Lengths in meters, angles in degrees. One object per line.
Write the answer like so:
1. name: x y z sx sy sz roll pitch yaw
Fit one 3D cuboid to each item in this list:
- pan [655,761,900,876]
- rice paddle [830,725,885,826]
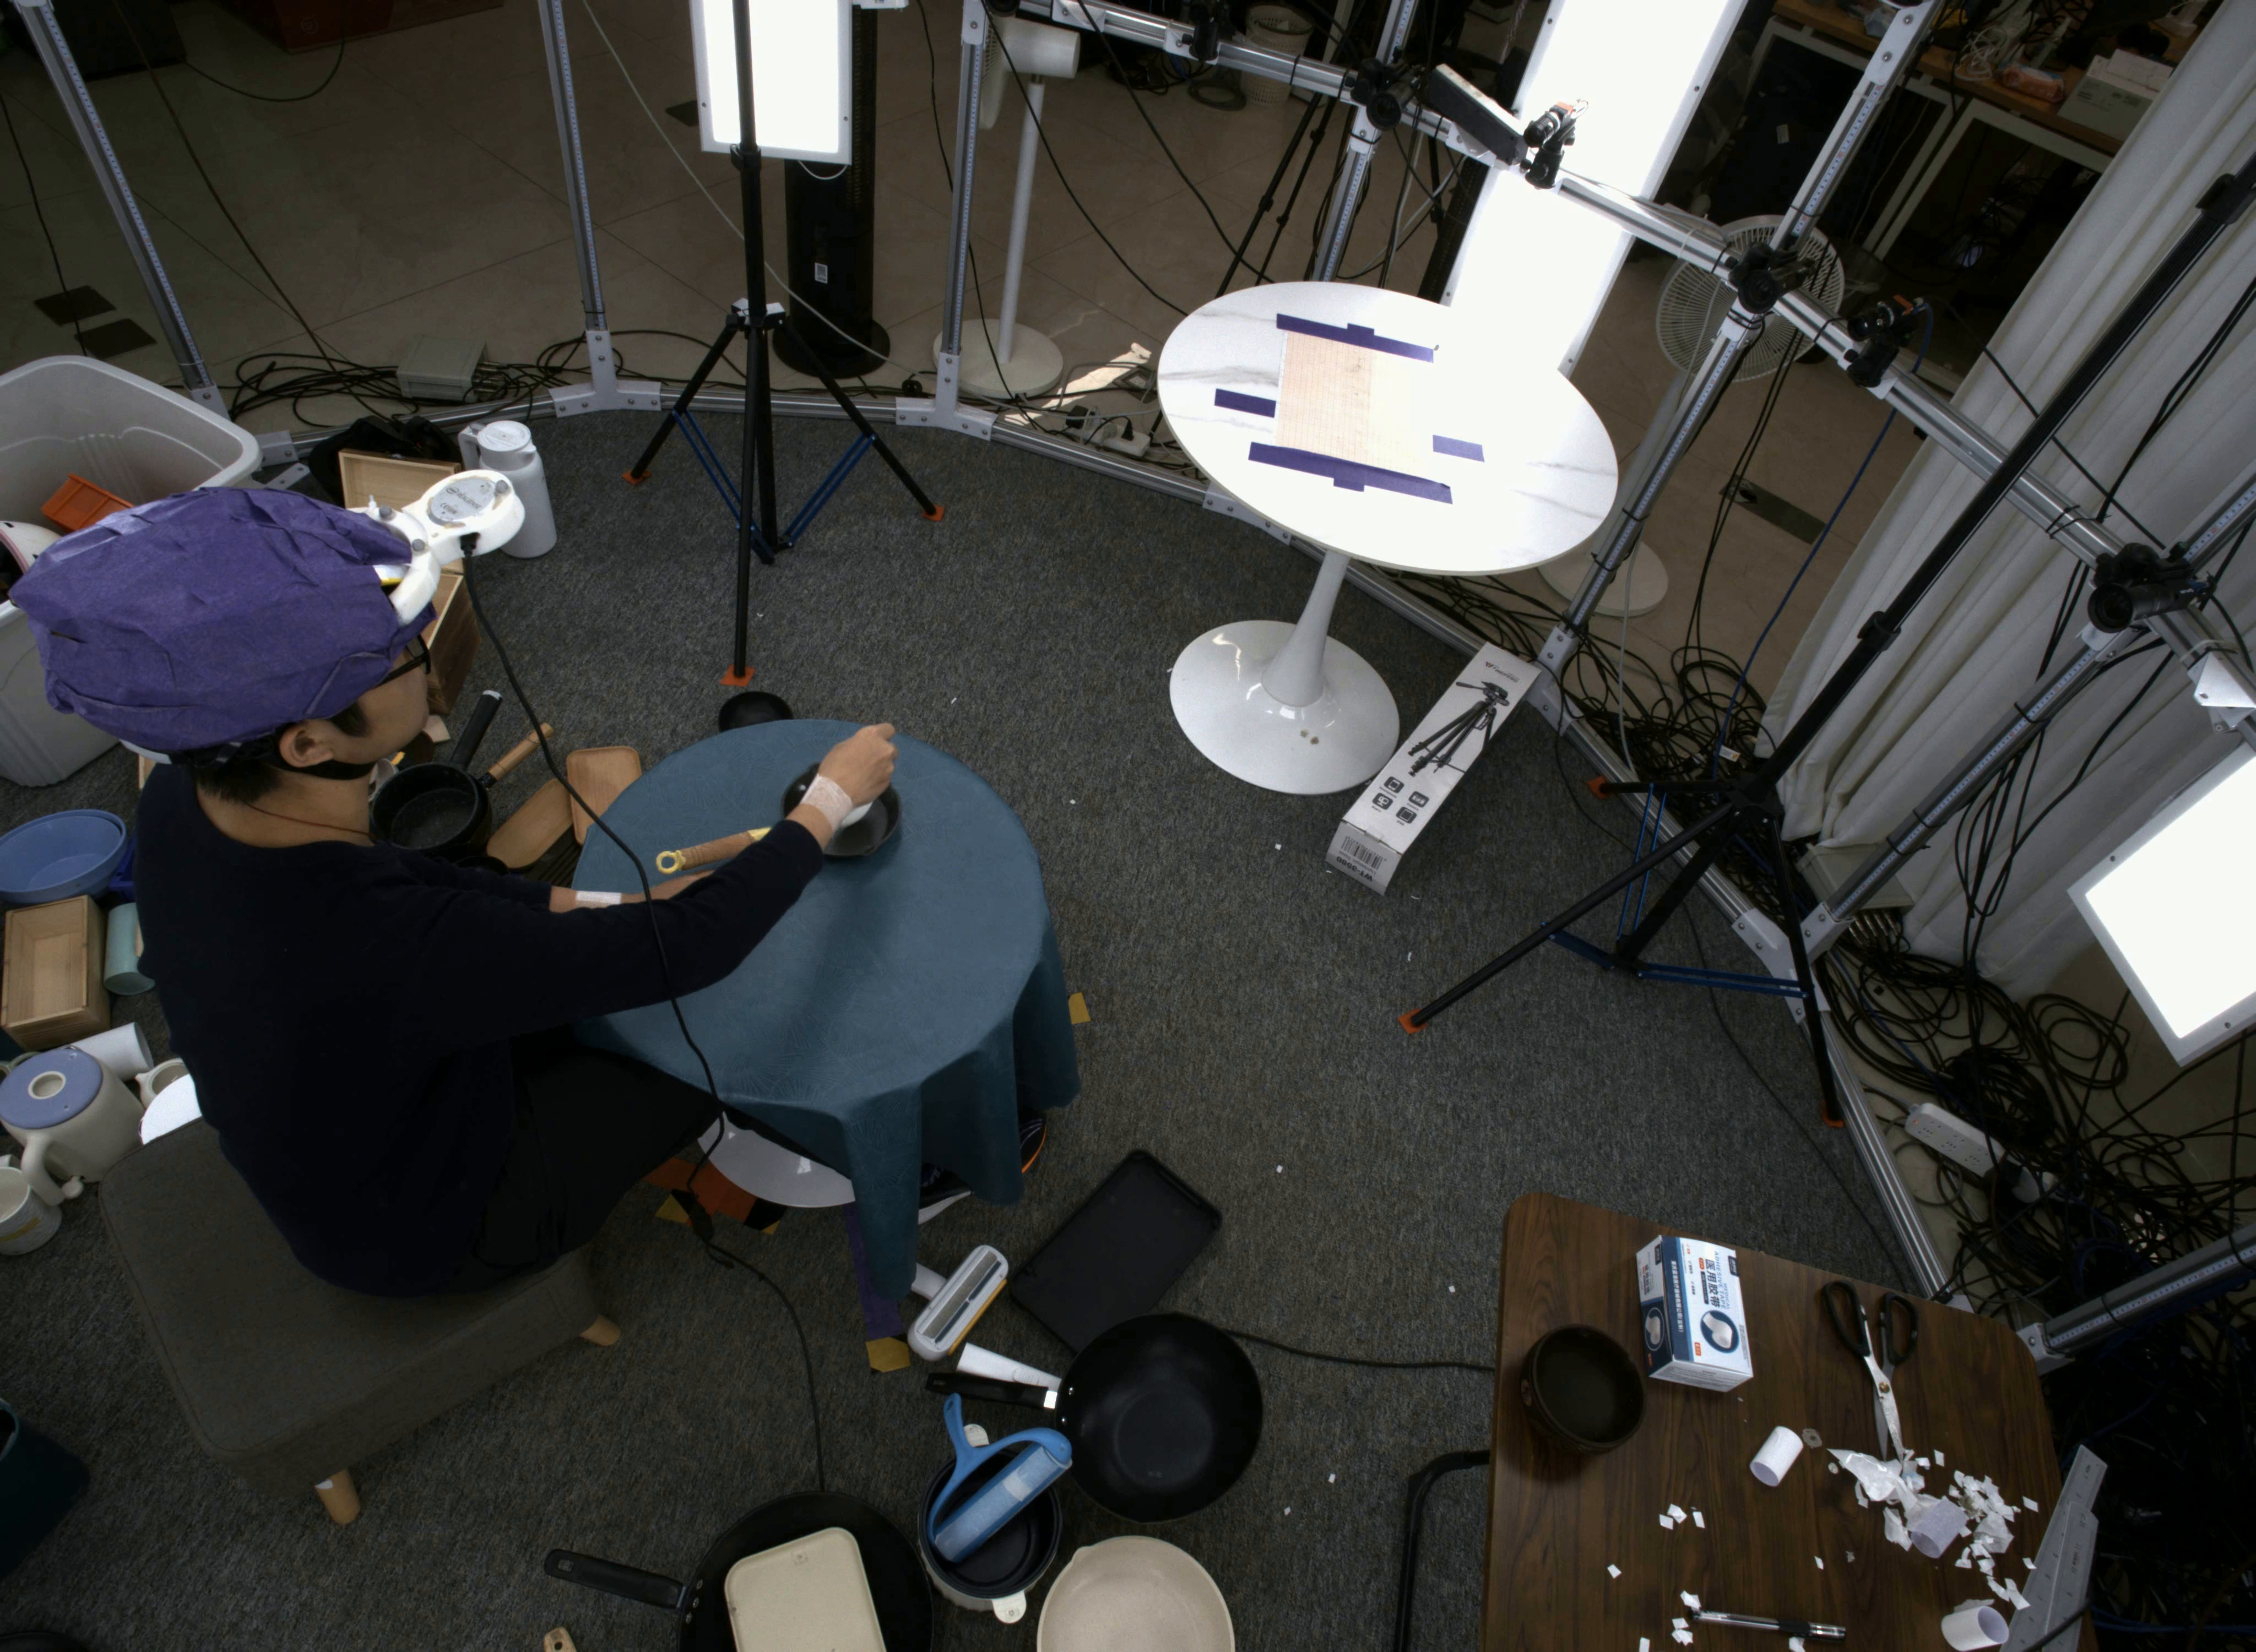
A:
1. pan: -0.450 0.005 1.670 0.326 0.050 0.164 -20 61 -29
2. rice paddle: -0.342 -0.059 1.644 0.029 0.206 0.069 47 55 10
